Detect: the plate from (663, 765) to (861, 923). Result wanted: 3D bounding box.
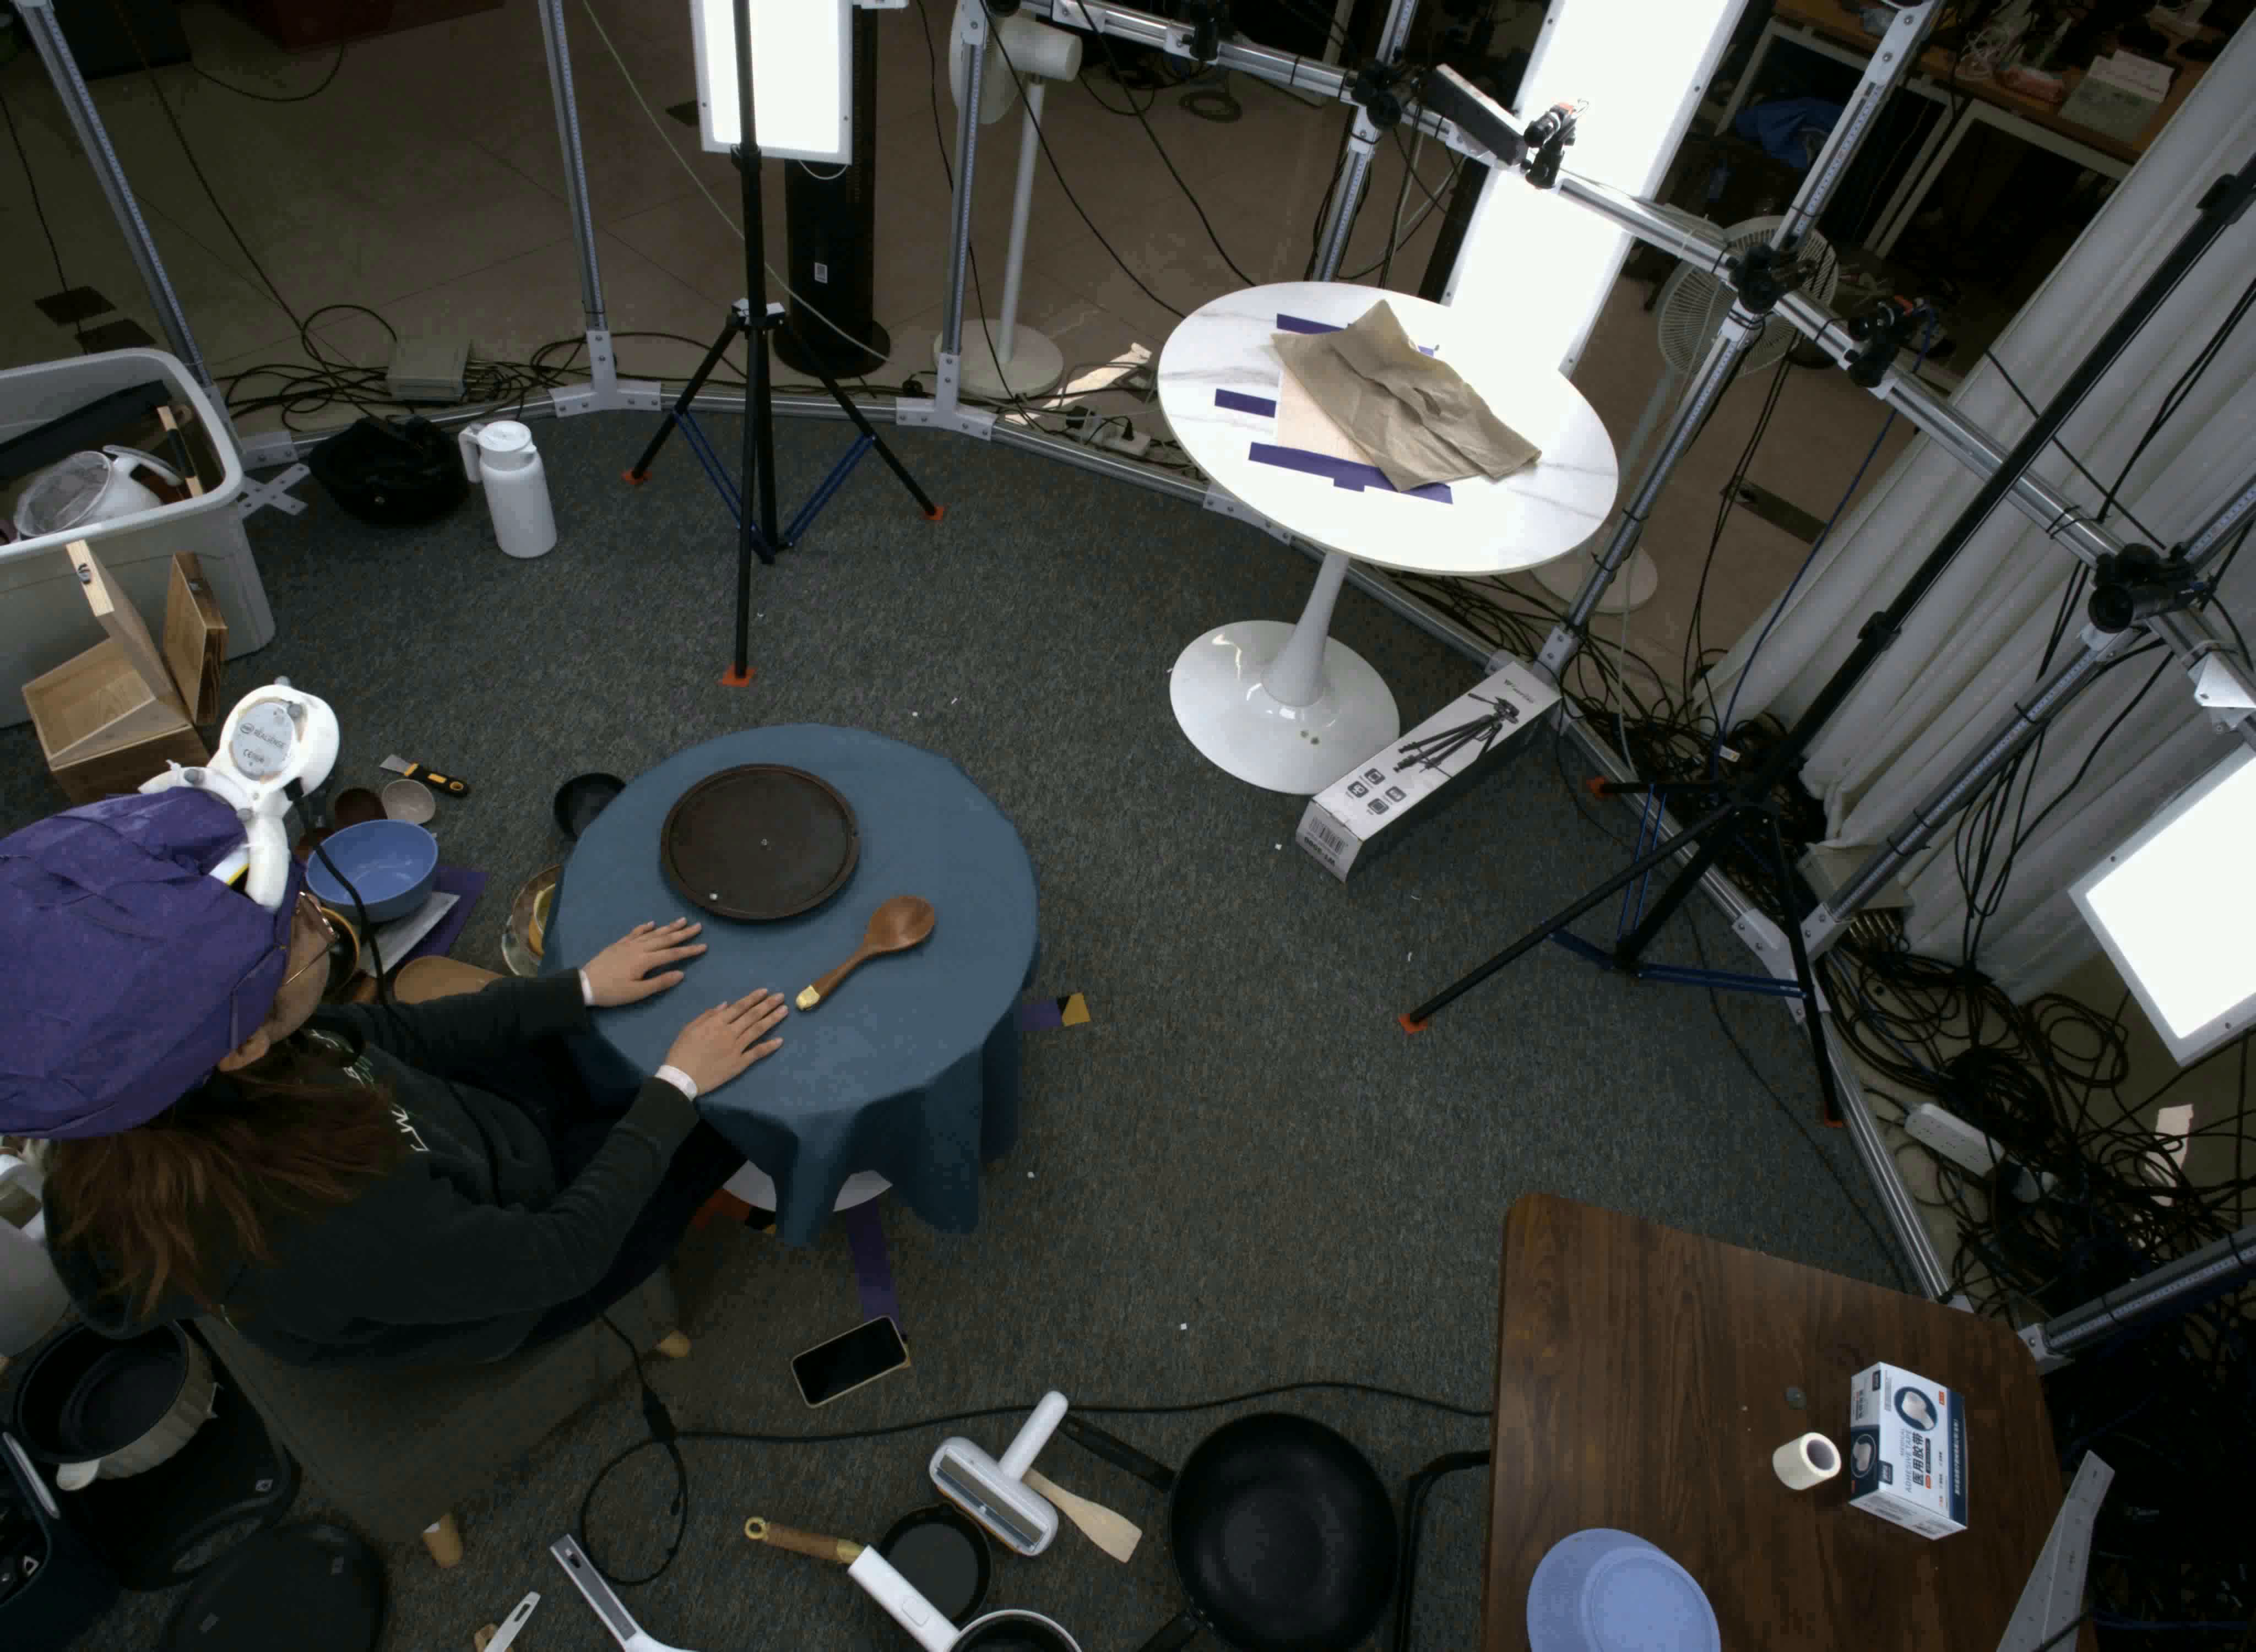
[{"bbox_3d":[-0.476,0.020,1.686,0.254,0.029,0.250,9,51,-9],"label":"plate"}]

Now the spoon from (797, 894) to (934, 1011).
[{"bbox_3d":[-0.329,0.157,1.625,0.074,0.017,0.216,38,54,14],"label":"spoon"}]
